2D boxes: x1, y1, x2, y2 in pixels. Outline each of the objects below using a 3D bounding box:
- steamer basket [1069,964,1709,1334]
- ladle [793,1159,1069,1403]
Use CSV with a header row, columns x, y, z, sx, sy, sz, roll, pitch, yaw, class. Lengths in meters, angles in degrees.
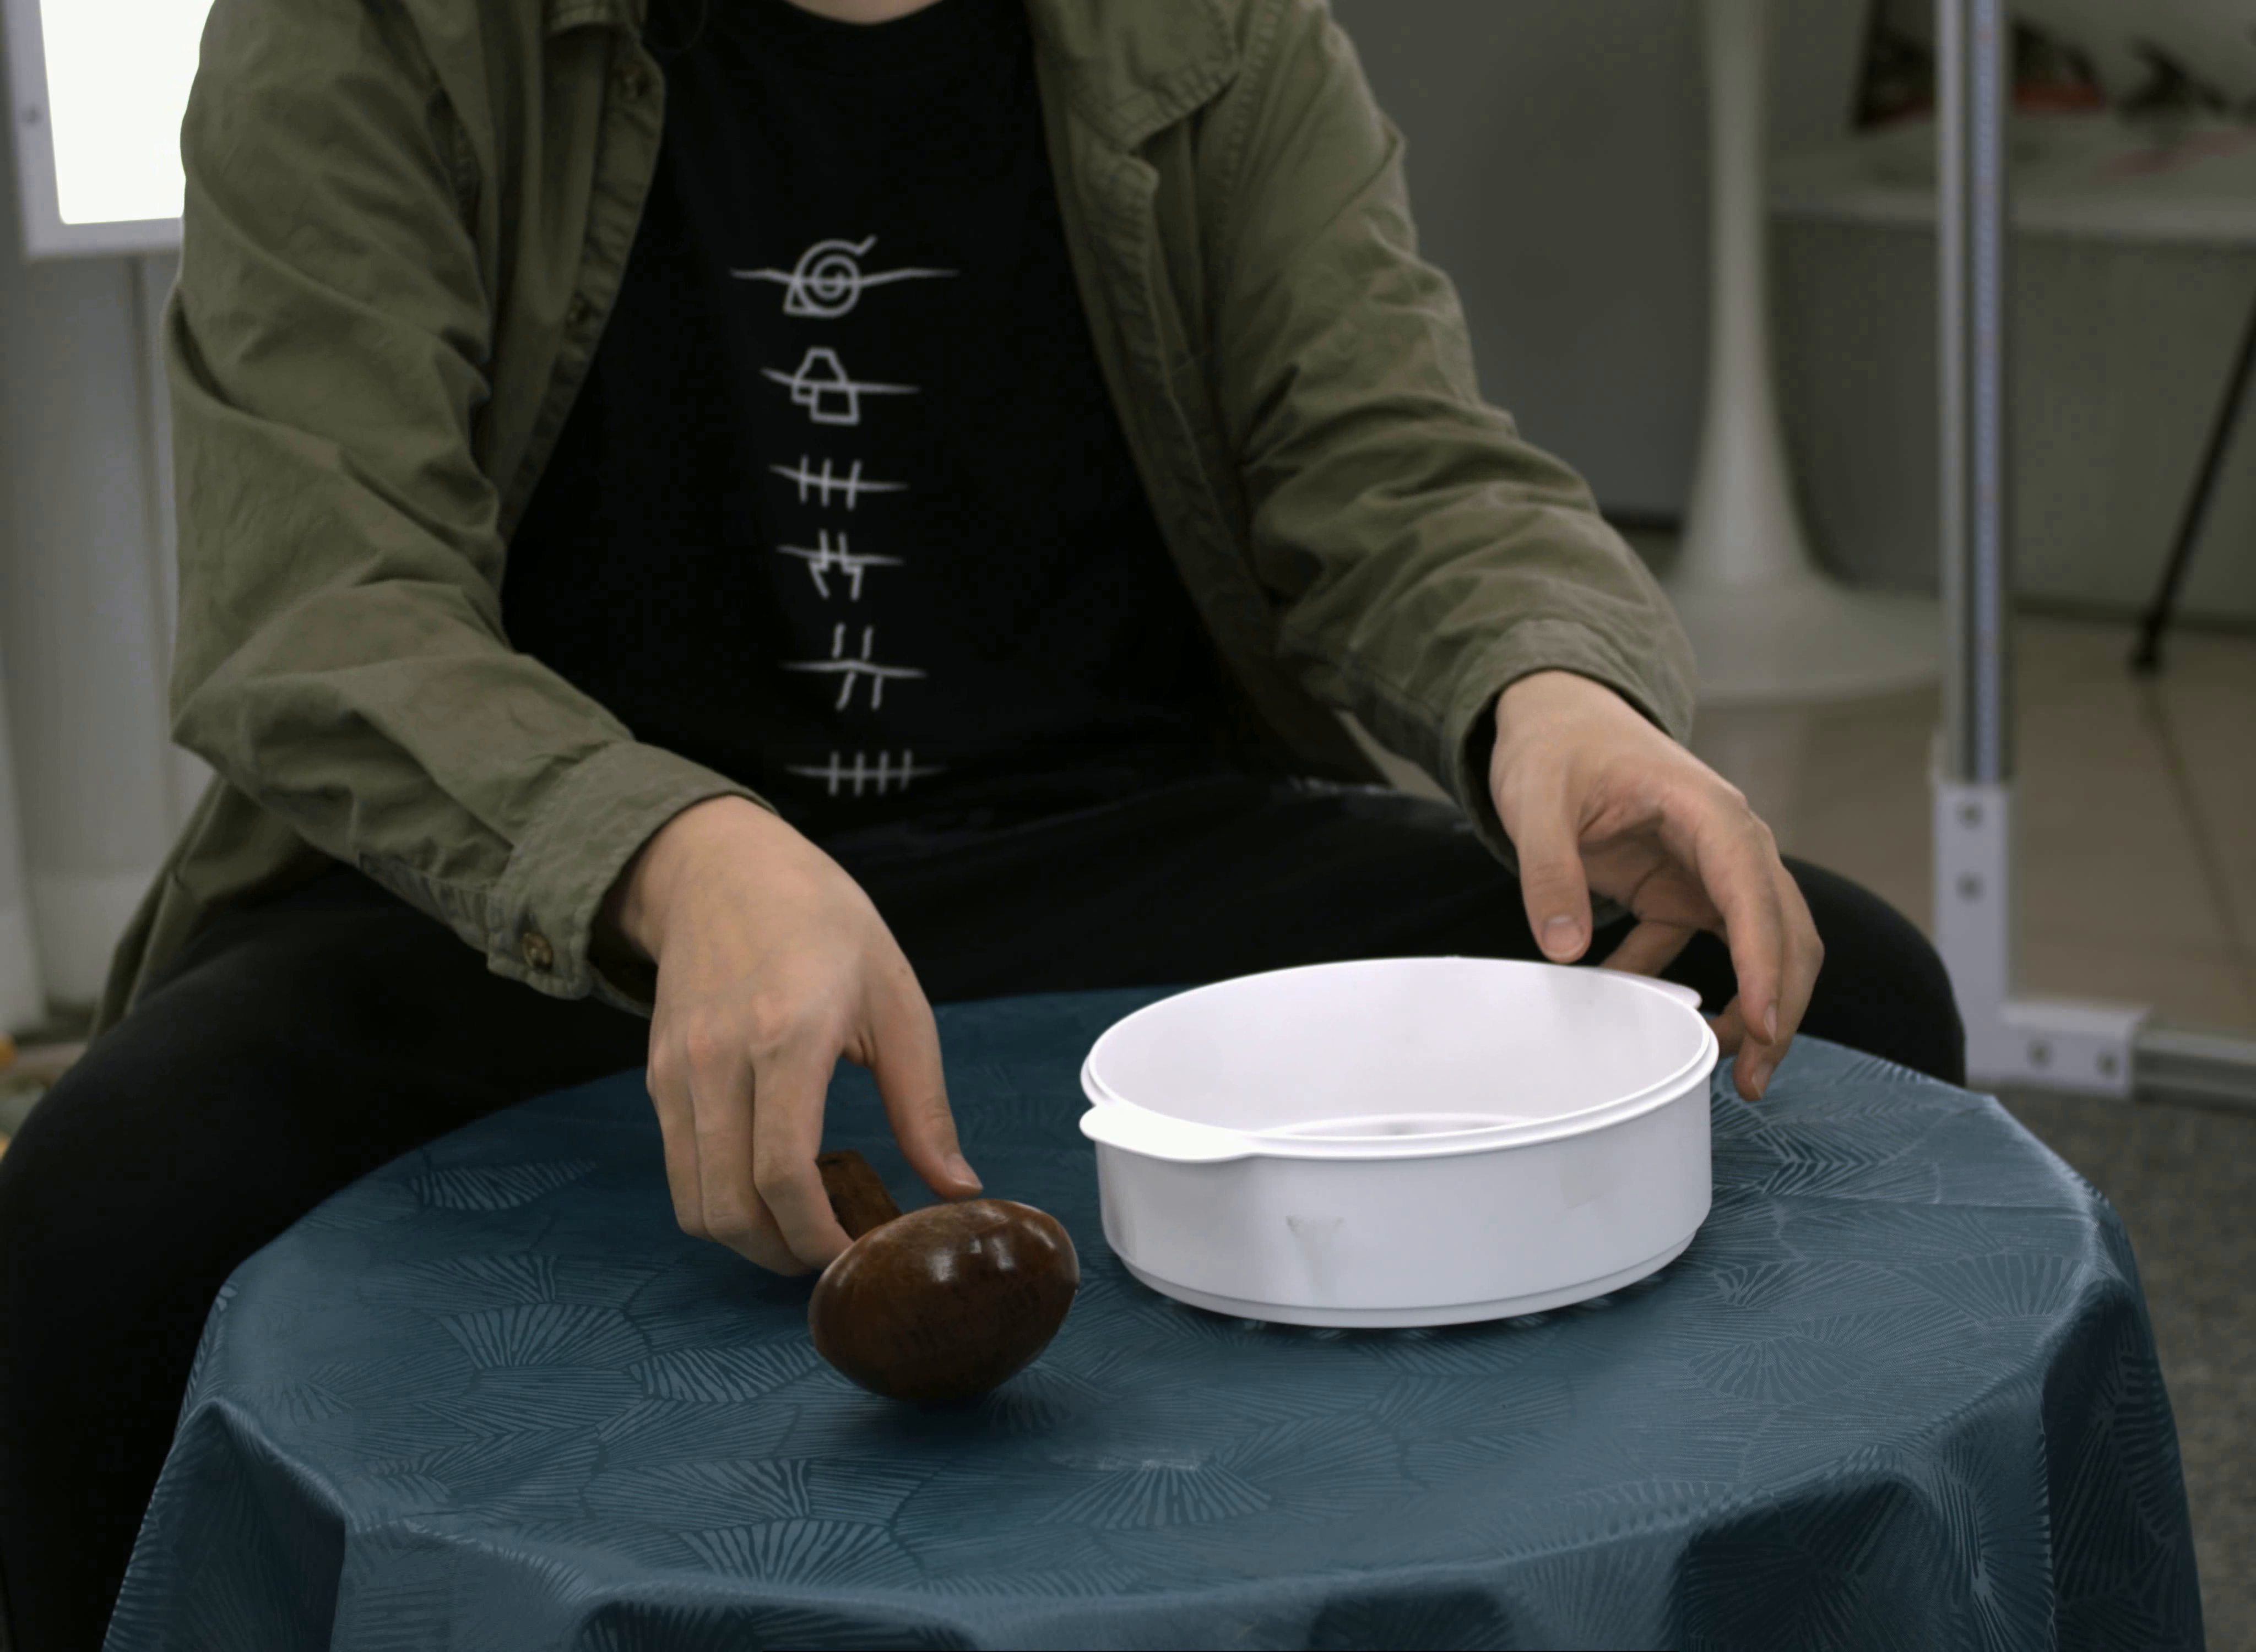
x,y,z,sx,sy,sz,roll,pitch,yaw,class
0.082,0.101,1.686,0.225,0.070,0.204,-13,17,-37,steamer basket
-0.076,0.115,1.657,0.080,0.077,0.276,-8,14,-9,ladle
